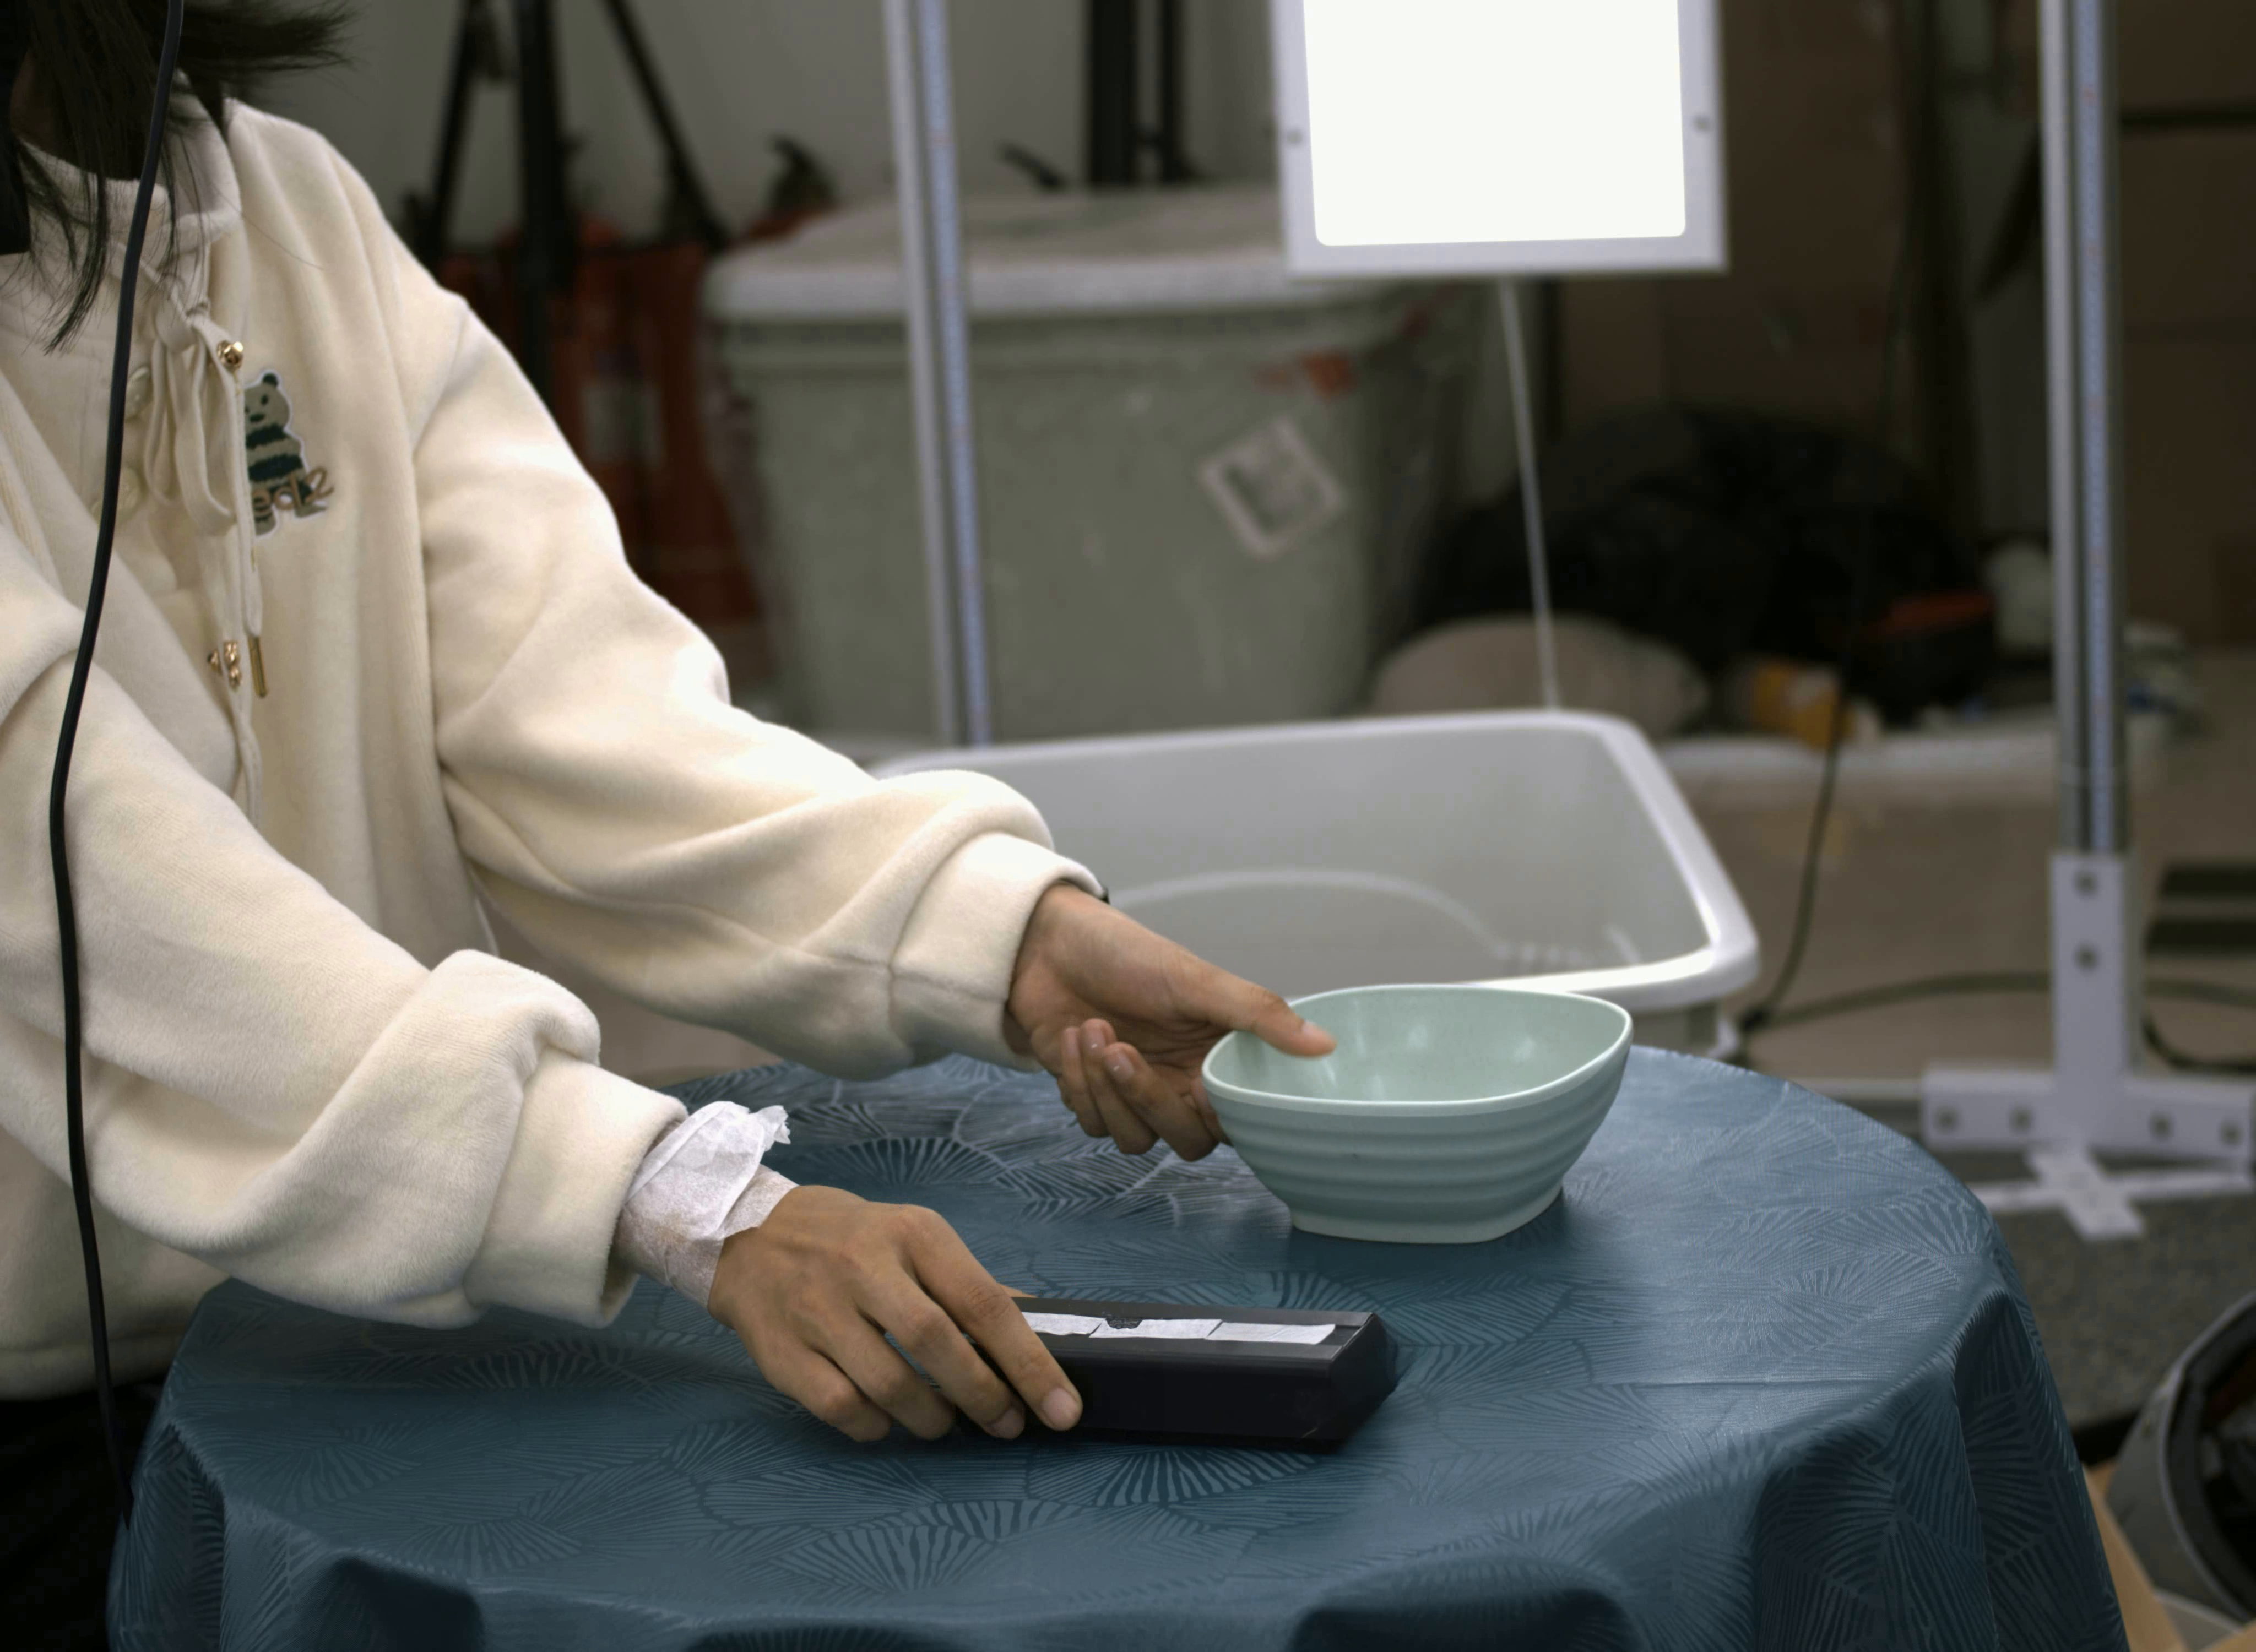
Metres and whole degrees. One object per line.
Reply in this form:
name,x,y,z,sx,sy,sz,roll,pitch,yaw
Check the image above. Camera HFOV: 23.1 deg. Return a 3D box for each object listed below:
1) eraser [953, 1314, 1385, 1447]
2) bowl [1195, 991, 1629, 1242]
eraser,0.014,0.168,1.670,0.127,0.030,0.052,-2,12,22
bowl,0.097,0.100,1.850,0.151,0.059,0.151,-2,12,-1
